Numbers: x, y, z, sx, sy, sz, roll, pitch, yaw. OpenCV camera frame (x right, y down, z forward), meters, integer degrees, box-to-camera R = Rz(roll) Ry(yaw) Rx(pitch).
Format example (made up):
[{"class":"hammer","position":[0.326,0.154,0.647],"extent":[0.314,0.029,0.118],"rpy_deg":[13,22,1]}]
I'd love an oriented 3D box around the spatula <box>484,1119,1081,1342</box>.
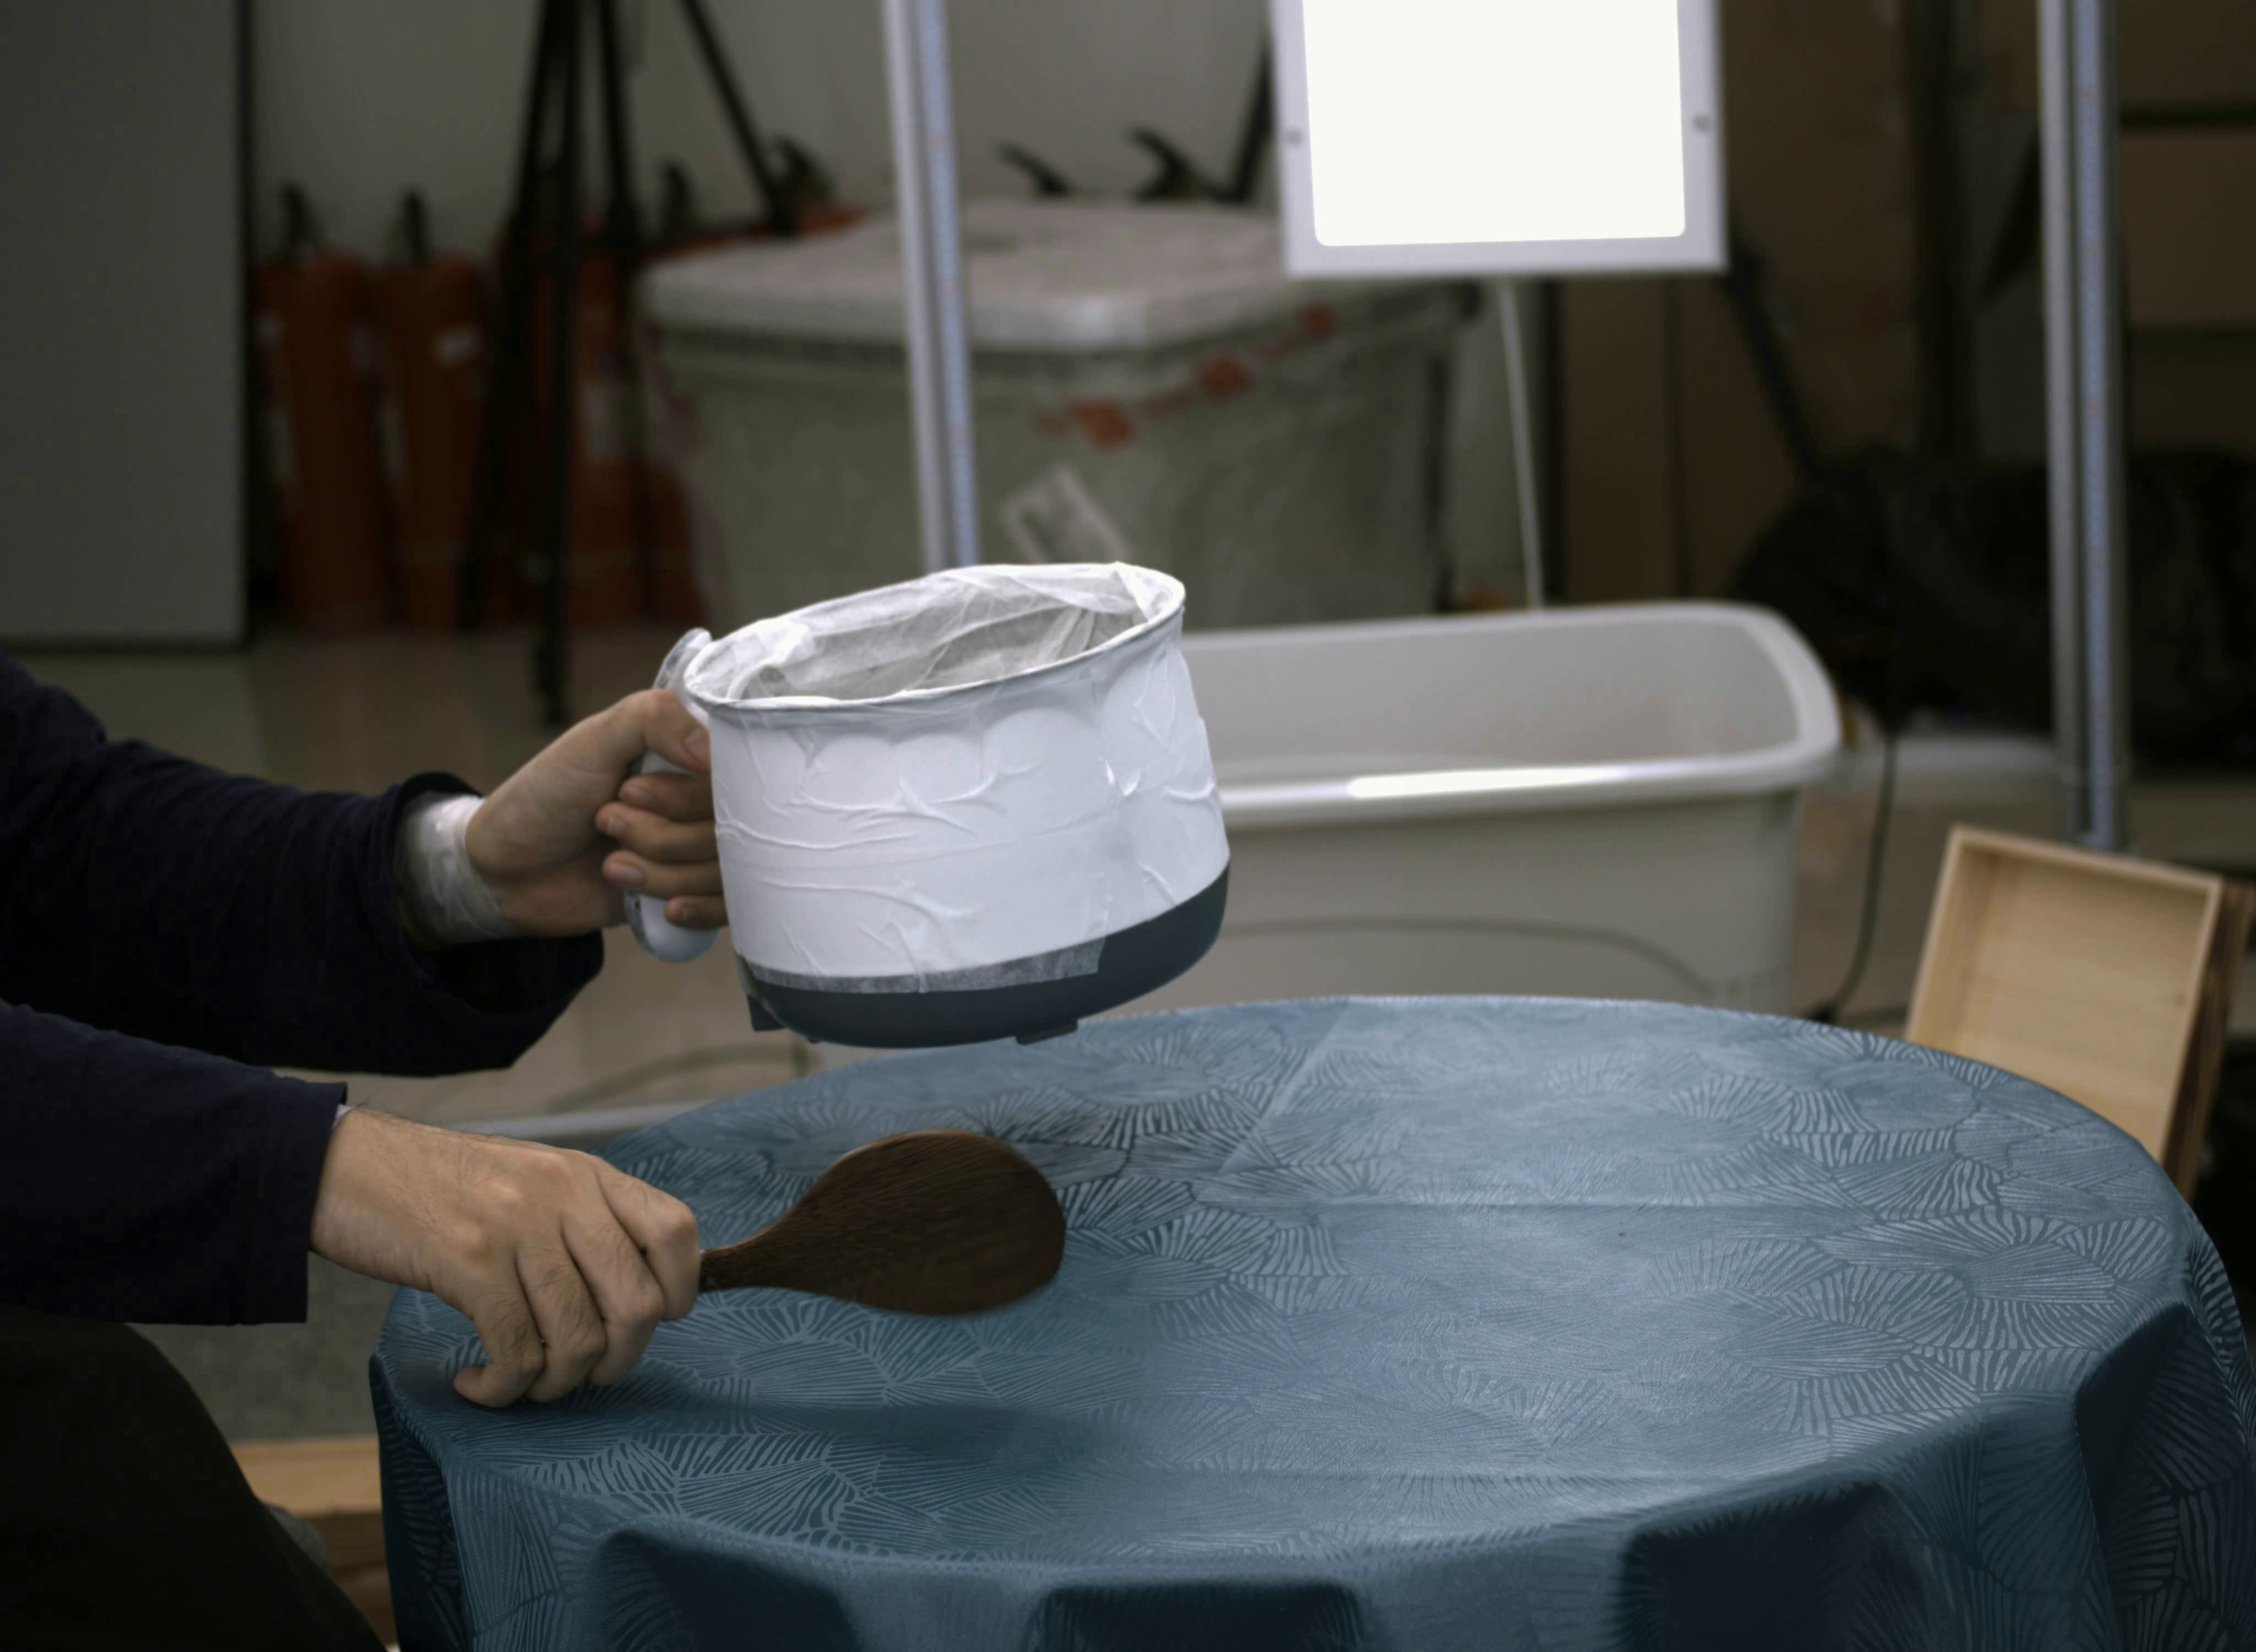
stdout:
[{"class":"spatula","position":[-0.114,0.135,1.731],"extent":[0.220,0.072,0.009],"rpy_deg":[-12,19,28]}]

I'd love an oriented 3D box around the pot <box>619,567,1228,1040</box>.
[{"class":"pot","position":[-0.081,-0.008,1.933],"extent":[0.238,0.137,0.175],"rpy_deg":[-1,15,30]}]
